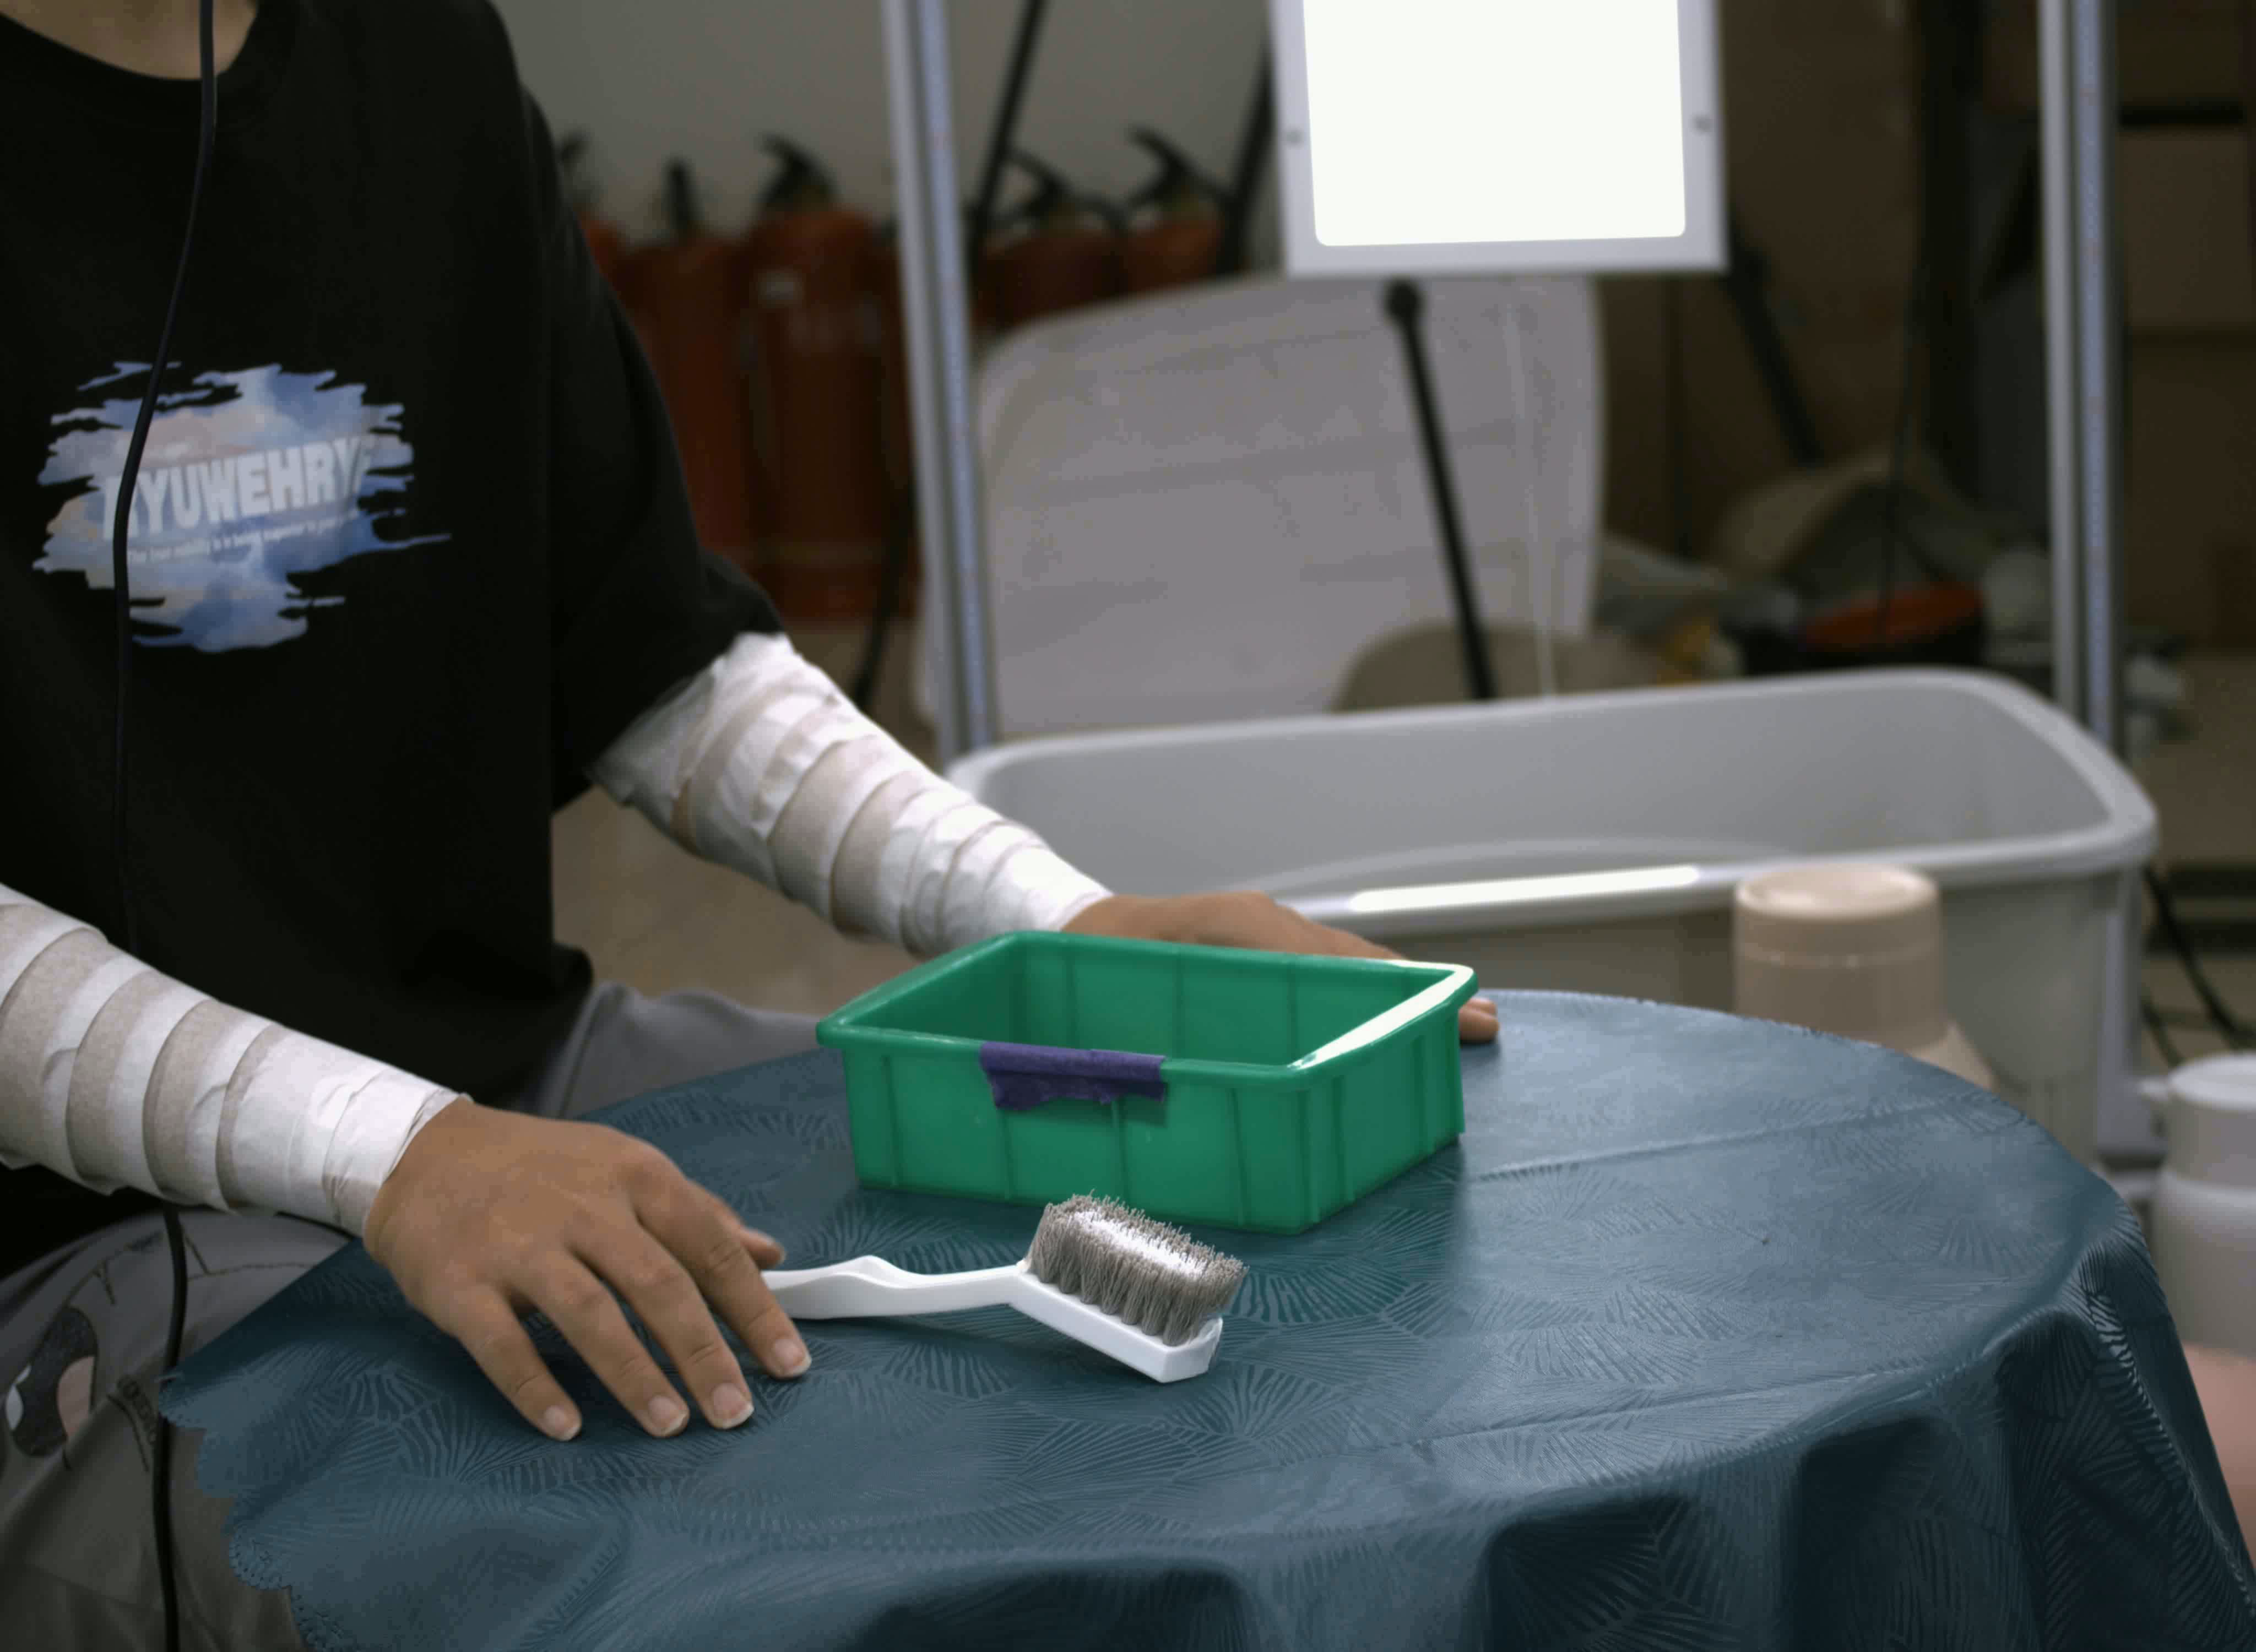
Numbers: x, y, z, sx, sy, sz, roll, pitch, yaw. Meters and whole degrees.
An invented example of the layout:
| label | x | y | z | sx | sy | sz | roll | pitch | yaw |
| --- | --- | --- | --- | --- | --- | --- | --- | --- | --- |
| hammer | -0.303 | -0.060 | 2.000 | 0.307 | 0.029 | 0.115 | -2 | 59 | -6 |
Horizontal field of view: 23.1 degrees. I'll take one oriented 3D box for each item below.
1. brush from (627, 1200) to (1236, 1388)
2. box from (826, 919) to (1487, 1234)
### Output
| label | x | y | z | sx | sy | sz | roll | pitch | yaw |
| --- | --- | --- | --- | --- | --- | --- | --- | --- | --- |
| brush | -0.069 | 0.138 | 1.773 | 0.249 | 0.050 | 0.033 | 6 | 19 | 38 |
| box | 0.013 | 0.087 | 1.923 | 0.214 | 0.065 | 0.135 | 5 | 20 | 31 |
